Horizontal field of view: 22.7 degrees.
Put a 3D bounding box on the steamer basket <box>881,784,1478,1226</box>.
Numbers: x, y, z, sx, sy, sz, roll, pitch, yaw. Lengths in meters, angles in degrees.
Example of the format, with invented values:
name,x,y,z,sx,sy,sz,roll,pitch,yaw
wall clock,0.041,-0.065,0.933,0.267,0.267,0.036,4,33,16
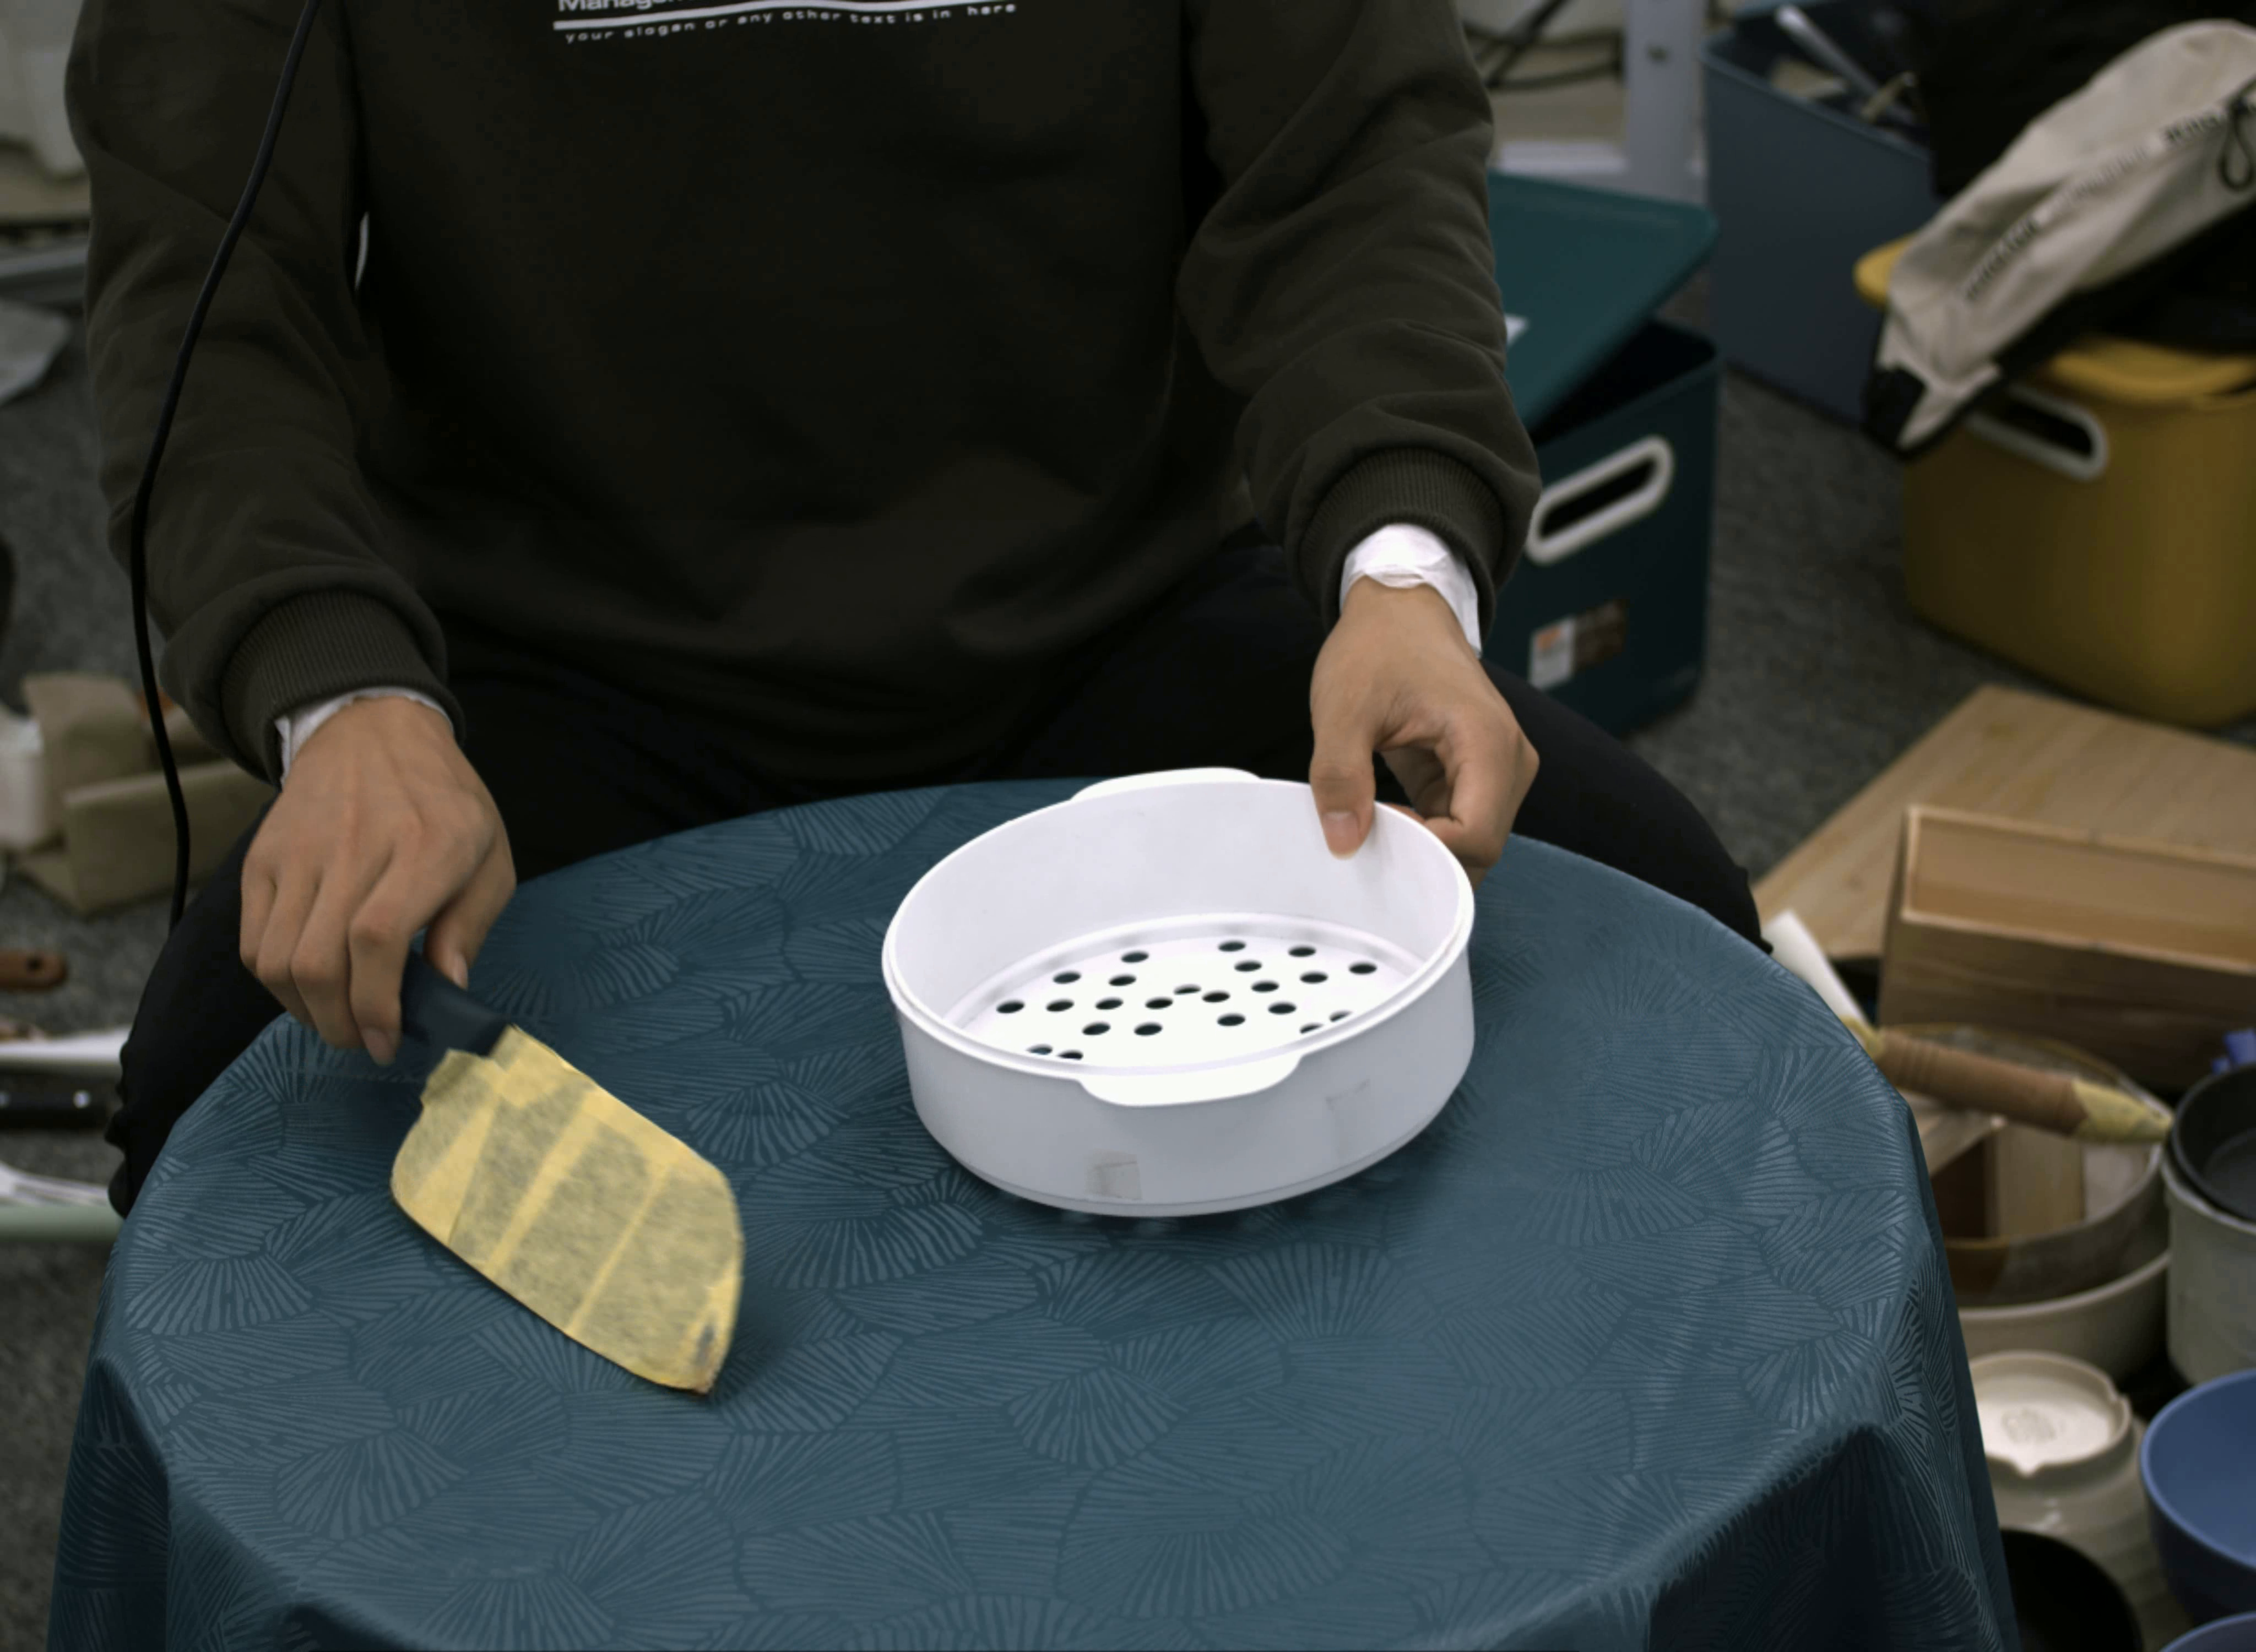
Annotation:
name,x,y,z,sx,sy,sz,roll,pitch,yaw
steamer basket,0.019,0.062,1.898,0.201,0.068,0.234,-5,26,0

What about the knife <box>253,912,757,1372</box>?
name,x,y,z,sx,sy,sz,roll,pitch,yaw
knife,-0.212,0.102,1.852,0.290,0.027,0.081,33,83,42
